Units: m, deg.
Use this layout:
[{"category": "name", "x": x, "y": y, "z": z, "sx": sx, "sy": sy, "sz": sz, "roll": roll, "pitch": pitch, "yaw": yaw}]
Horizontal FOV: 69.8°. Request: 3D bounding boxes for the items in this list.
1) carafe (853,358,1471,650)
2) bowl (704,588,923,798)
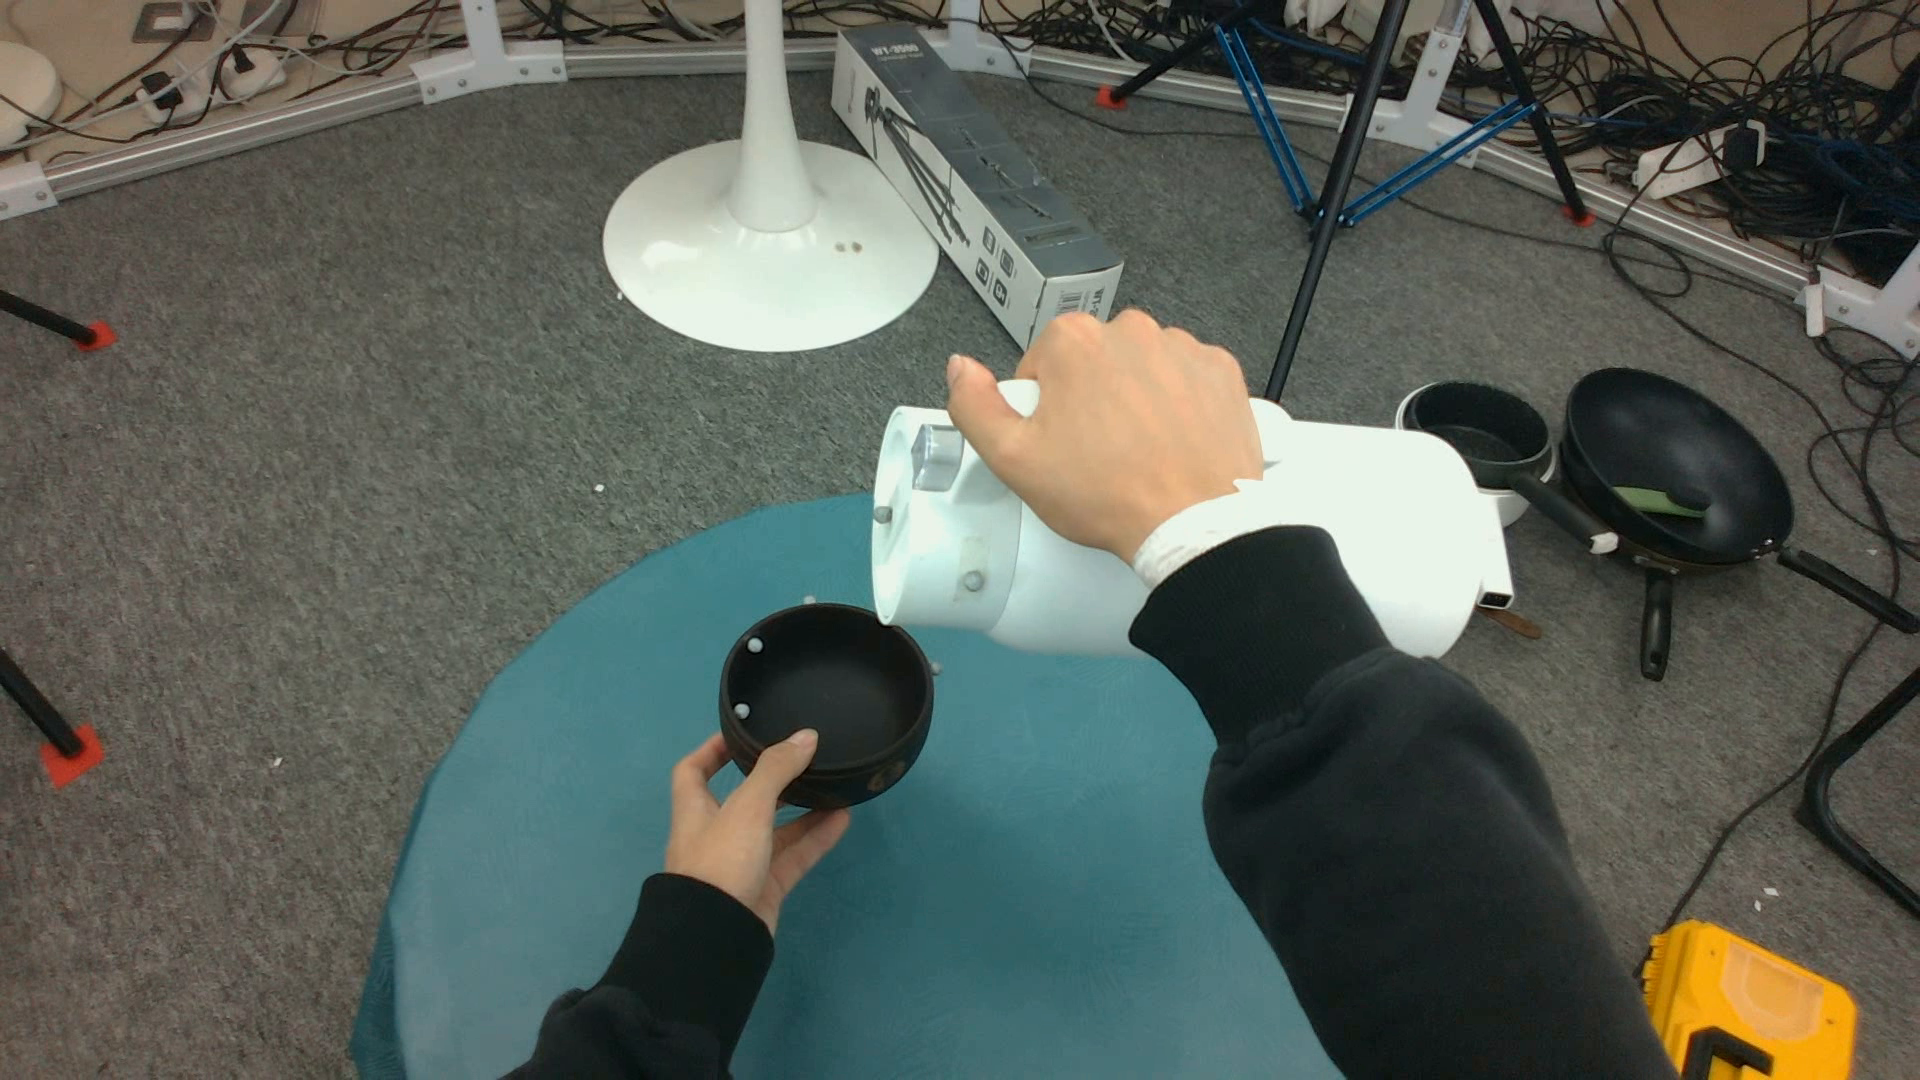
[{"category": "carafe", "x": 0.096, "y": -0.020, "z": 0.628, "sx": 0.269, "sy": 0.172, "sz": 0.124, "roll": 5, "pitch": 63, "yaw": -13}, {"category": "bowl", "x": -0.082, "y": 0.091, "z": 0.762, "sx": 0.118, "sy": 0.069, "sz": 0.118, "roll": 5, "pitch": 47, "yaw": -6}]
